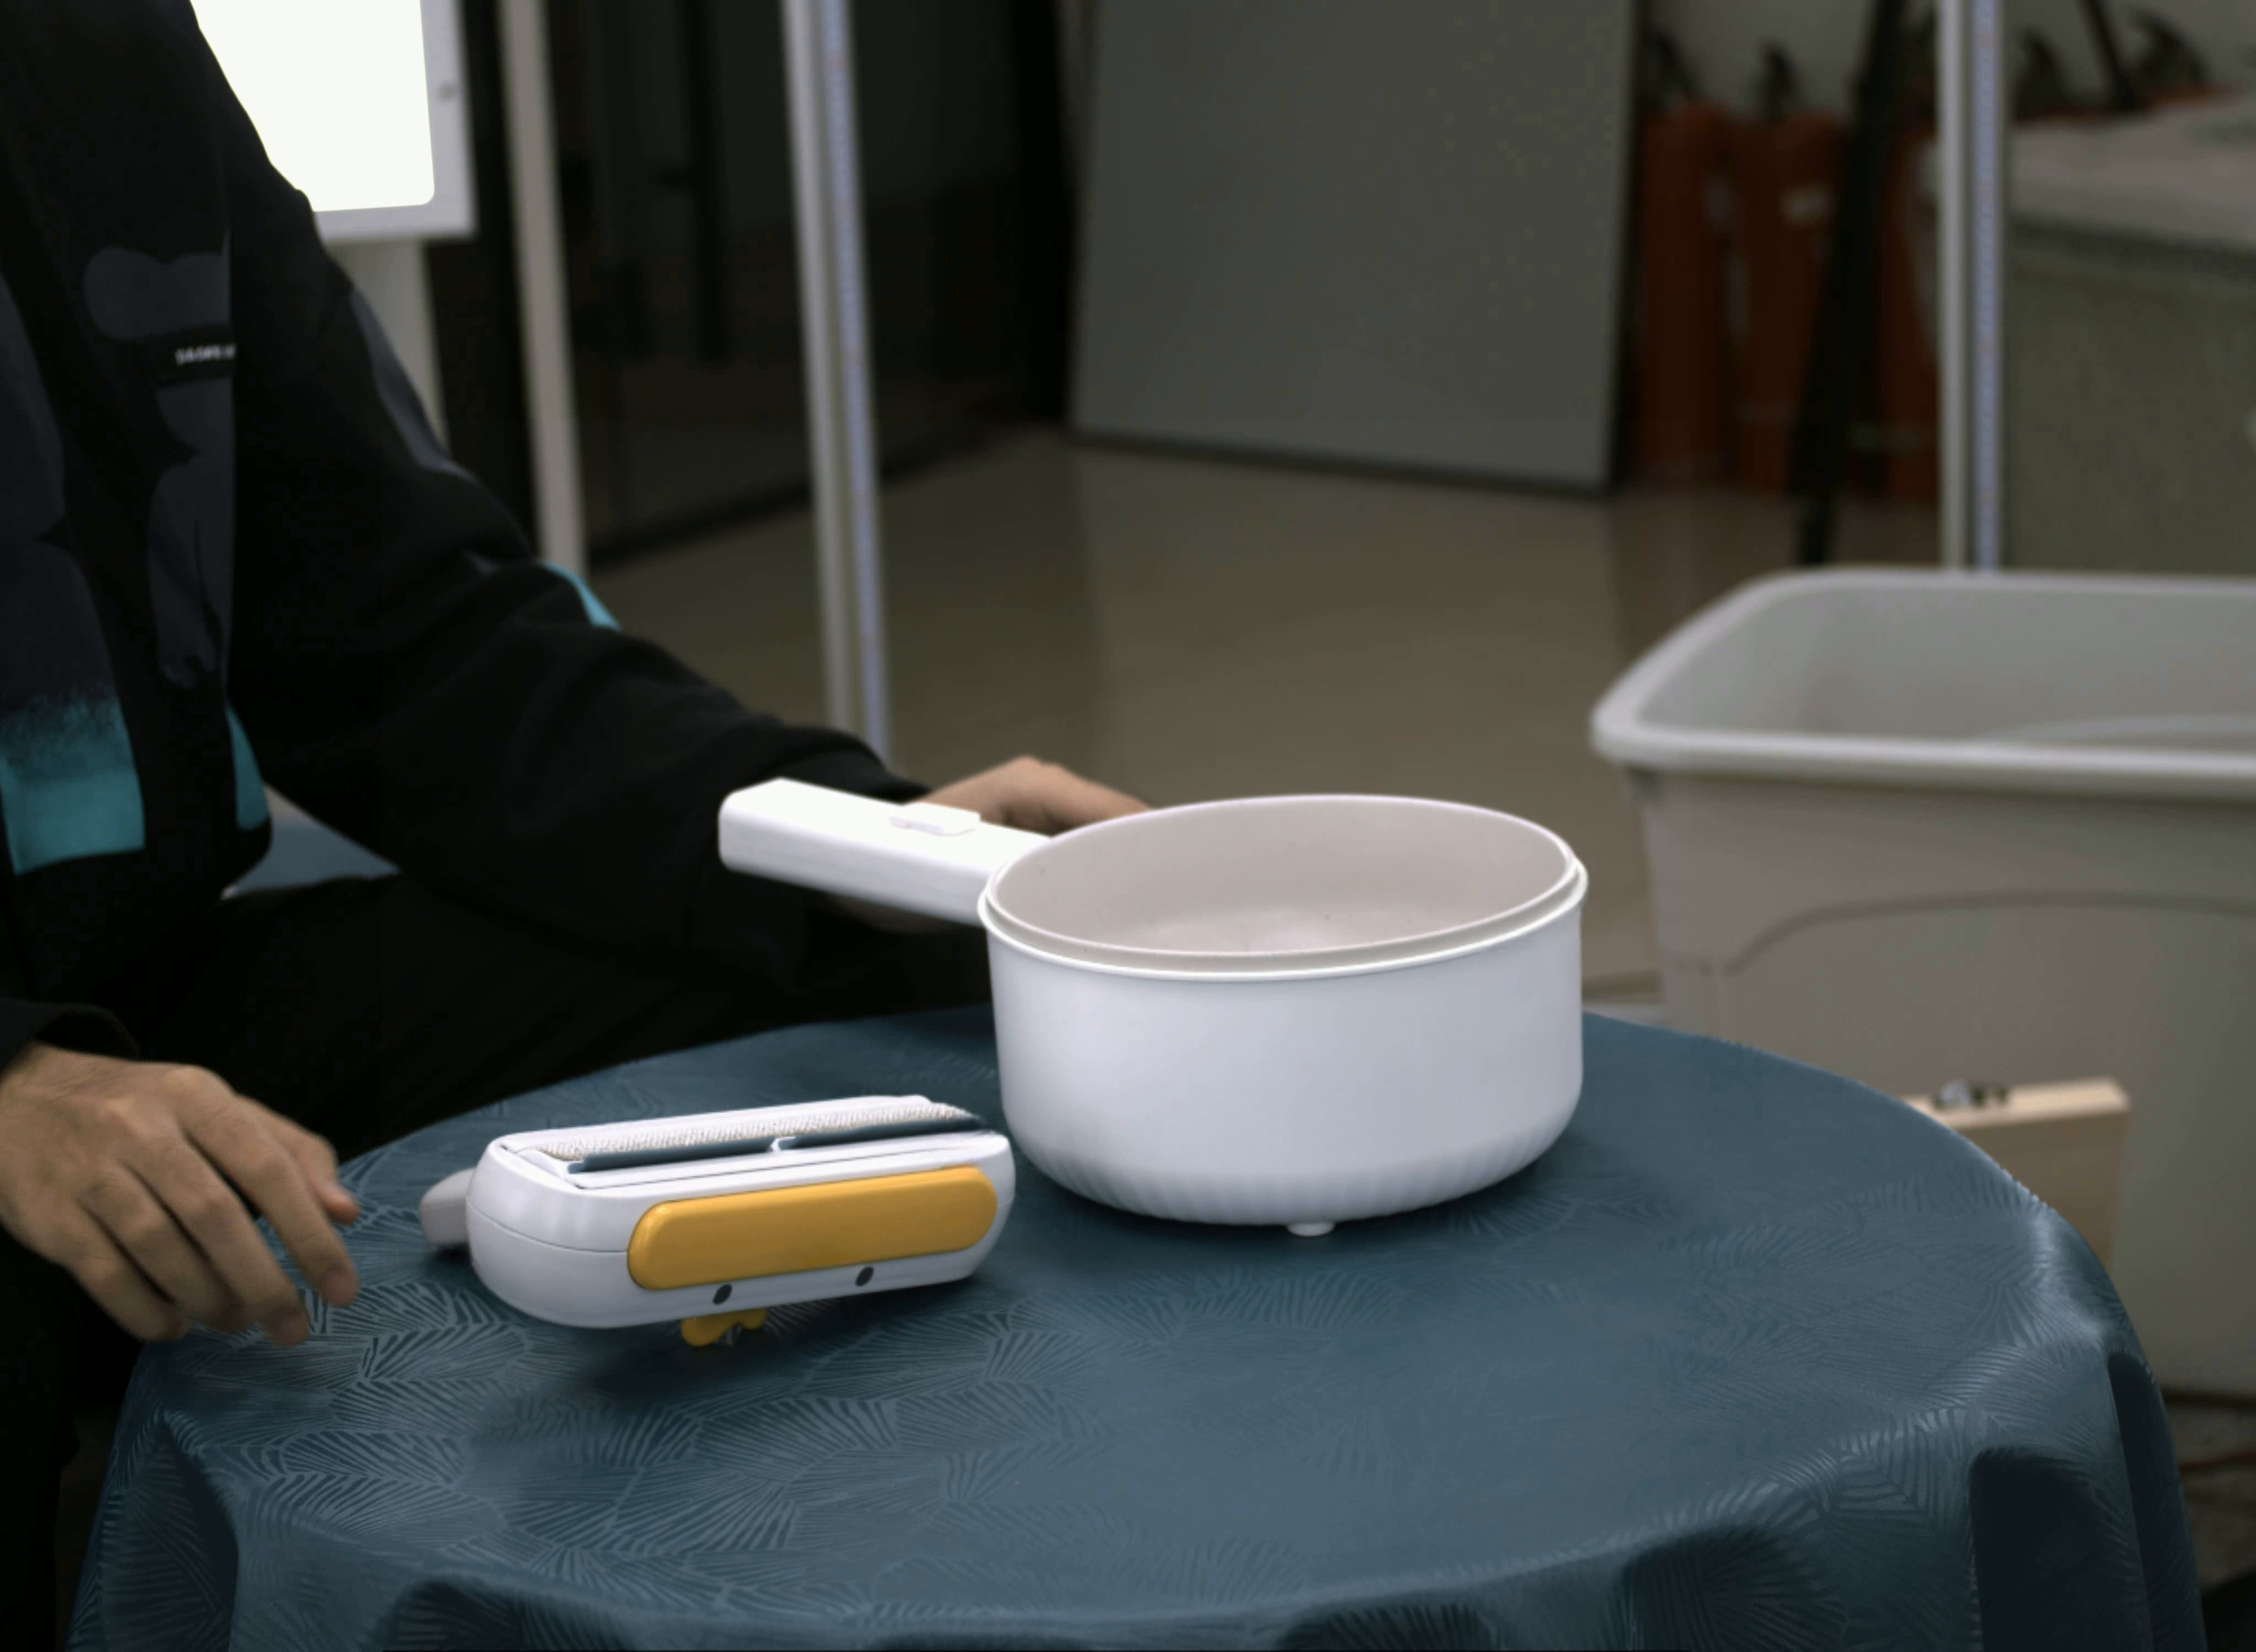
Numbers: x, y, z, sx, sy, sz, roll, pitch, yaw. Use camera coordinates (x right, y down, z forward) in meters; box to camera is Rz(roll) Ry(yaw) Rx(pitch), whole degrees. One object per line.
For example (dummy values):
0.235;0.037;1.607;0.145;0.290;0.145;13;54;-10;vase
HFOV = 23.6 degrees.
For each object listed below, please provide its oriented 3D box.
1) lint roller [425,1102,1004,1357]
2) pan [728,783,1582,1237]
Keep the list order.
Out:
-0.158;0.118;1.690;0.188;0.075;0.194;-8;12;-38;lint roller
-0.003;0.054;1.830;0.358;0.103;0.197;9;19;43;pan
